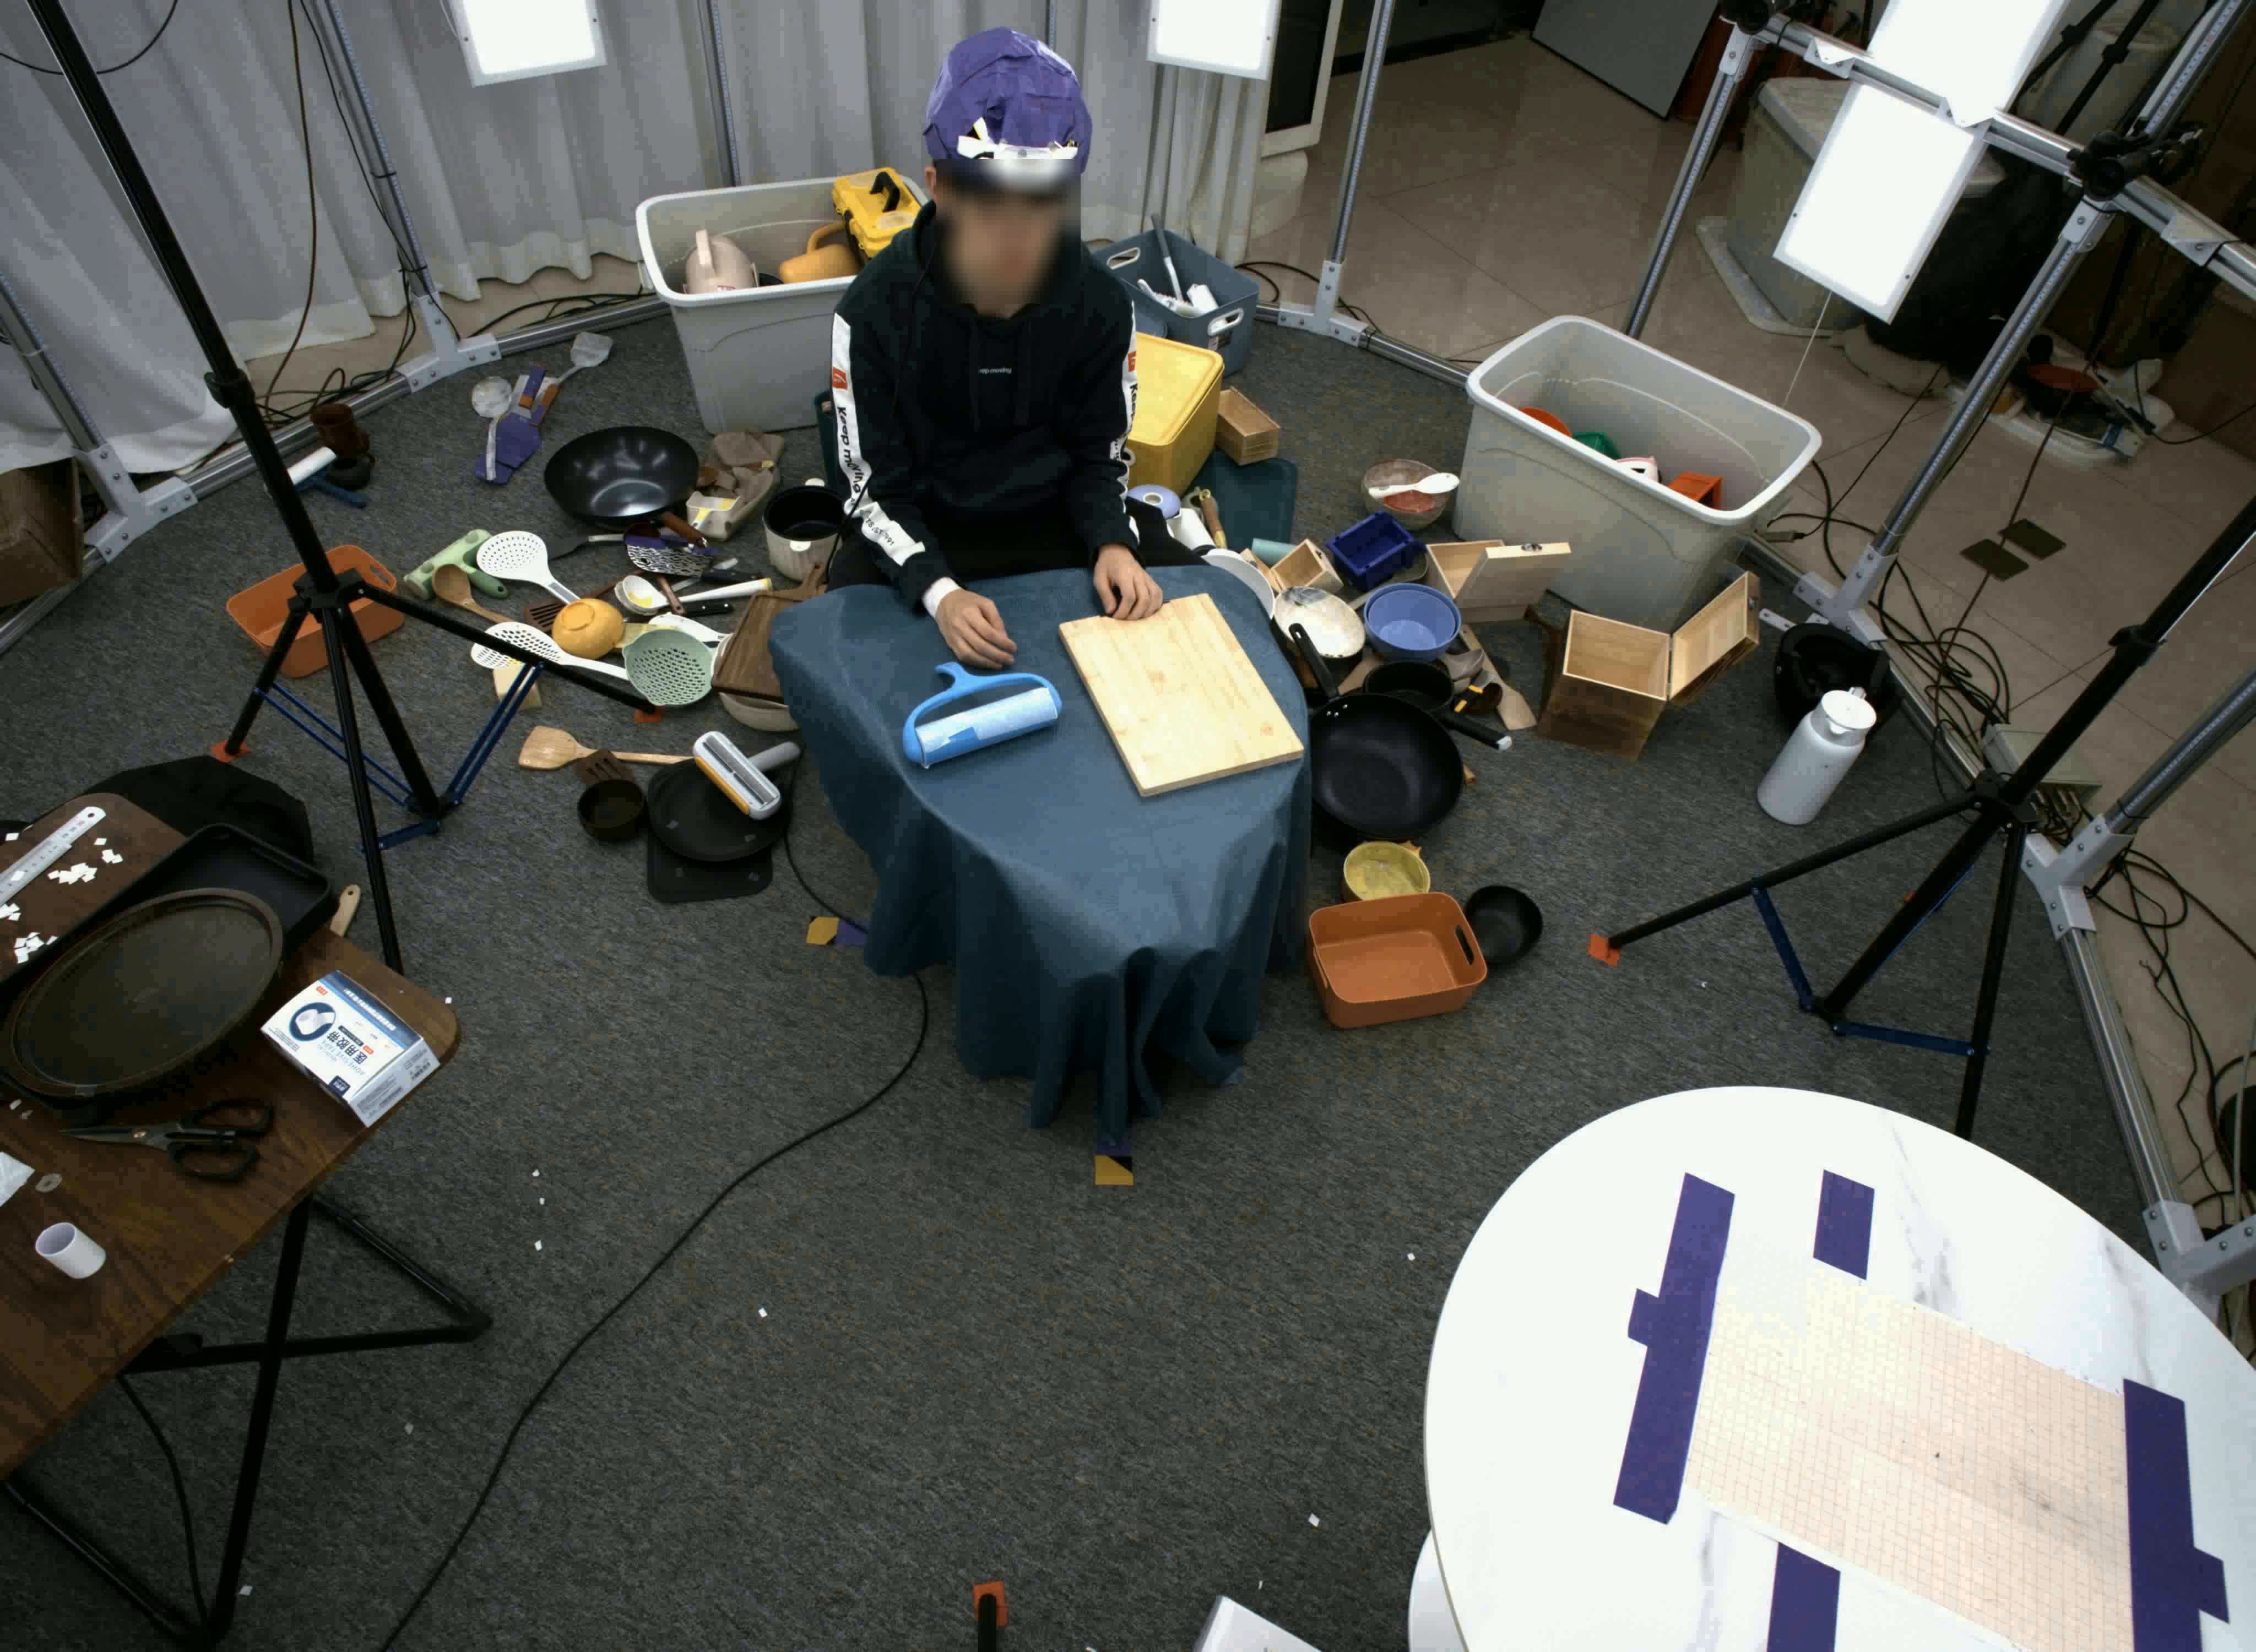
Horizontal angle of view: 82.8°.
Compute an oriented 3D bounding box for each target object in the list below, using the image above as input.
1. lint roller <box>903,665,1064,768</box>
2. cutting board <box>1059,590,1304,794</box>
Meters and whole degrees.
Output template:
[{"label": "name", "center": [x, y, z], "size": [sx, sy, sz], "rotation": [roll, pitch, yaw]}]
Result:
[{"label": "lint roller", "center": [-0.222, -0.176, 1.770], "size": [0.229, 0.066, 0.184], "rotation": [-23, 55, -20]}, {"label": "cutting board", "center": [0.069, -0.199, 1.834], "size": [0.251, 0.023, 0.357], "rotation": [-15, 52, -16]}]
